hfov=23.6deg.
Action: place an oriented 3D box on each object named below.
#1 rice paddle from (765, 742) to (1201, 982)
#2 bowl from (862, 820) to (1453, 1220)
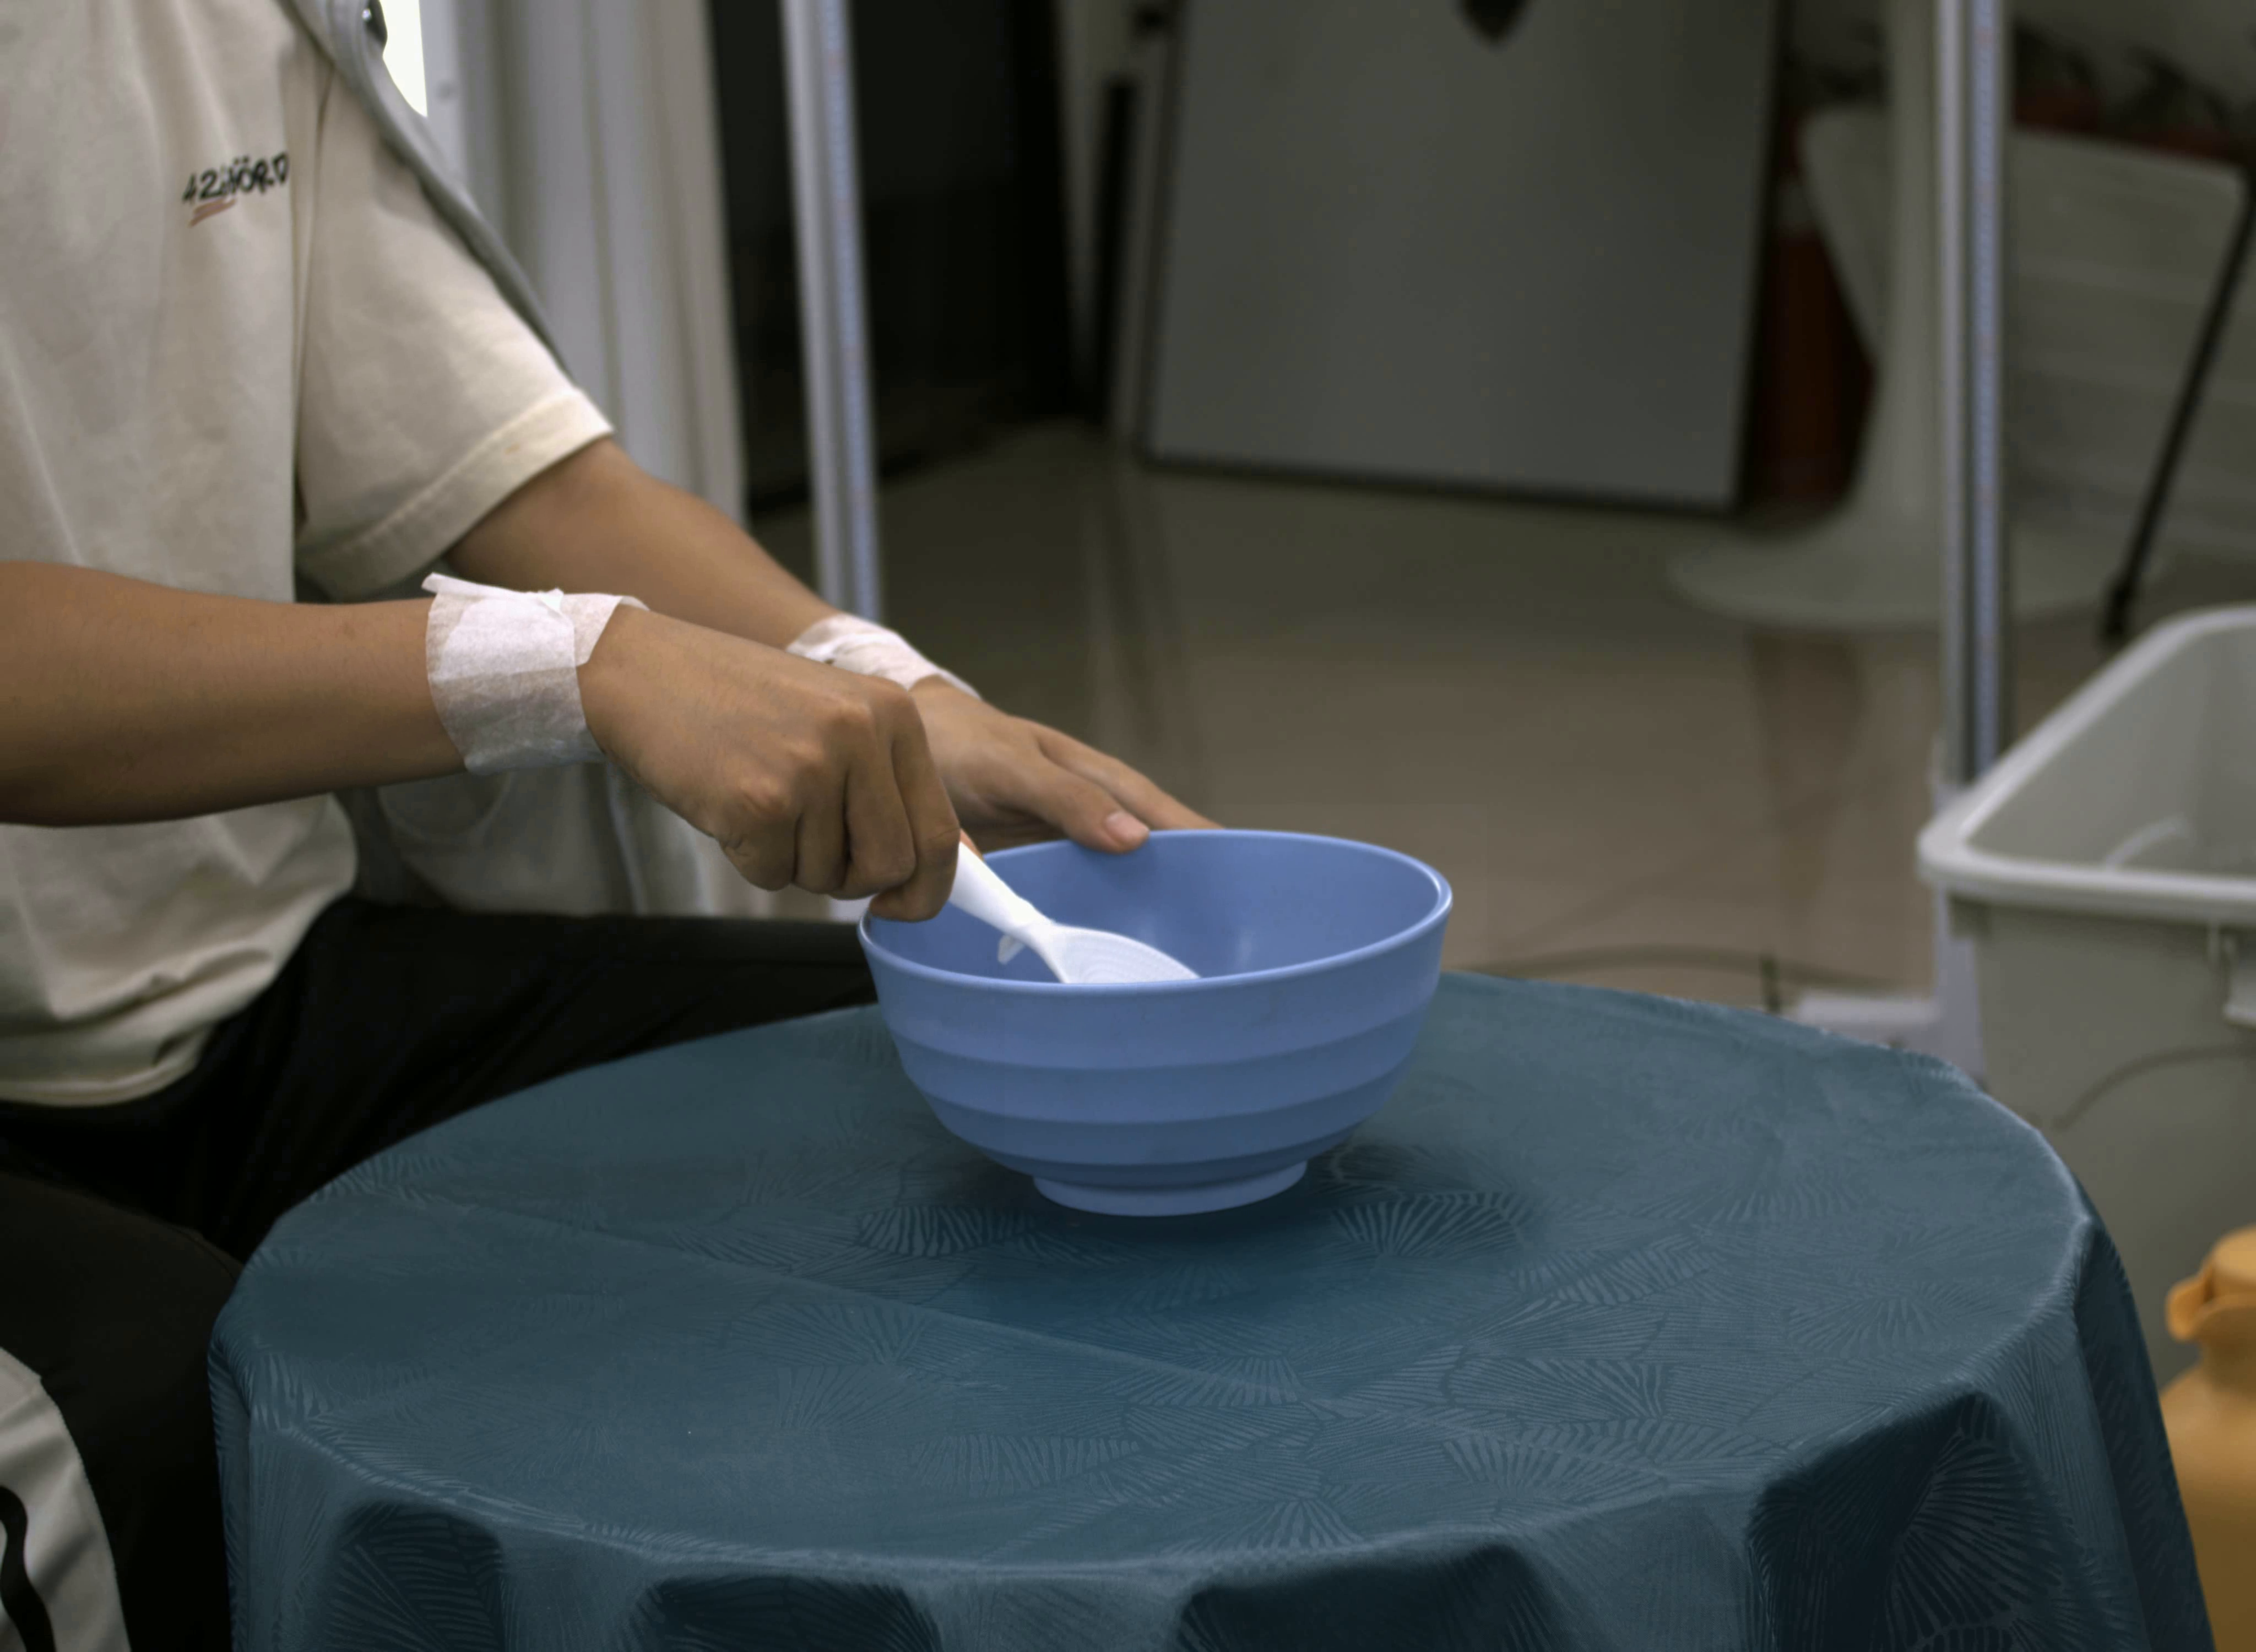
[{"bbox_3d":[-0.029,0.036,1.789,0.202,0.029,0.069,33,31,-19],"label":"rice paddle"},{"bbox_3d":[0.011,0.069,1.777,0.194,0.096,0.197,-3,16,0],"label":"bowl"}]
